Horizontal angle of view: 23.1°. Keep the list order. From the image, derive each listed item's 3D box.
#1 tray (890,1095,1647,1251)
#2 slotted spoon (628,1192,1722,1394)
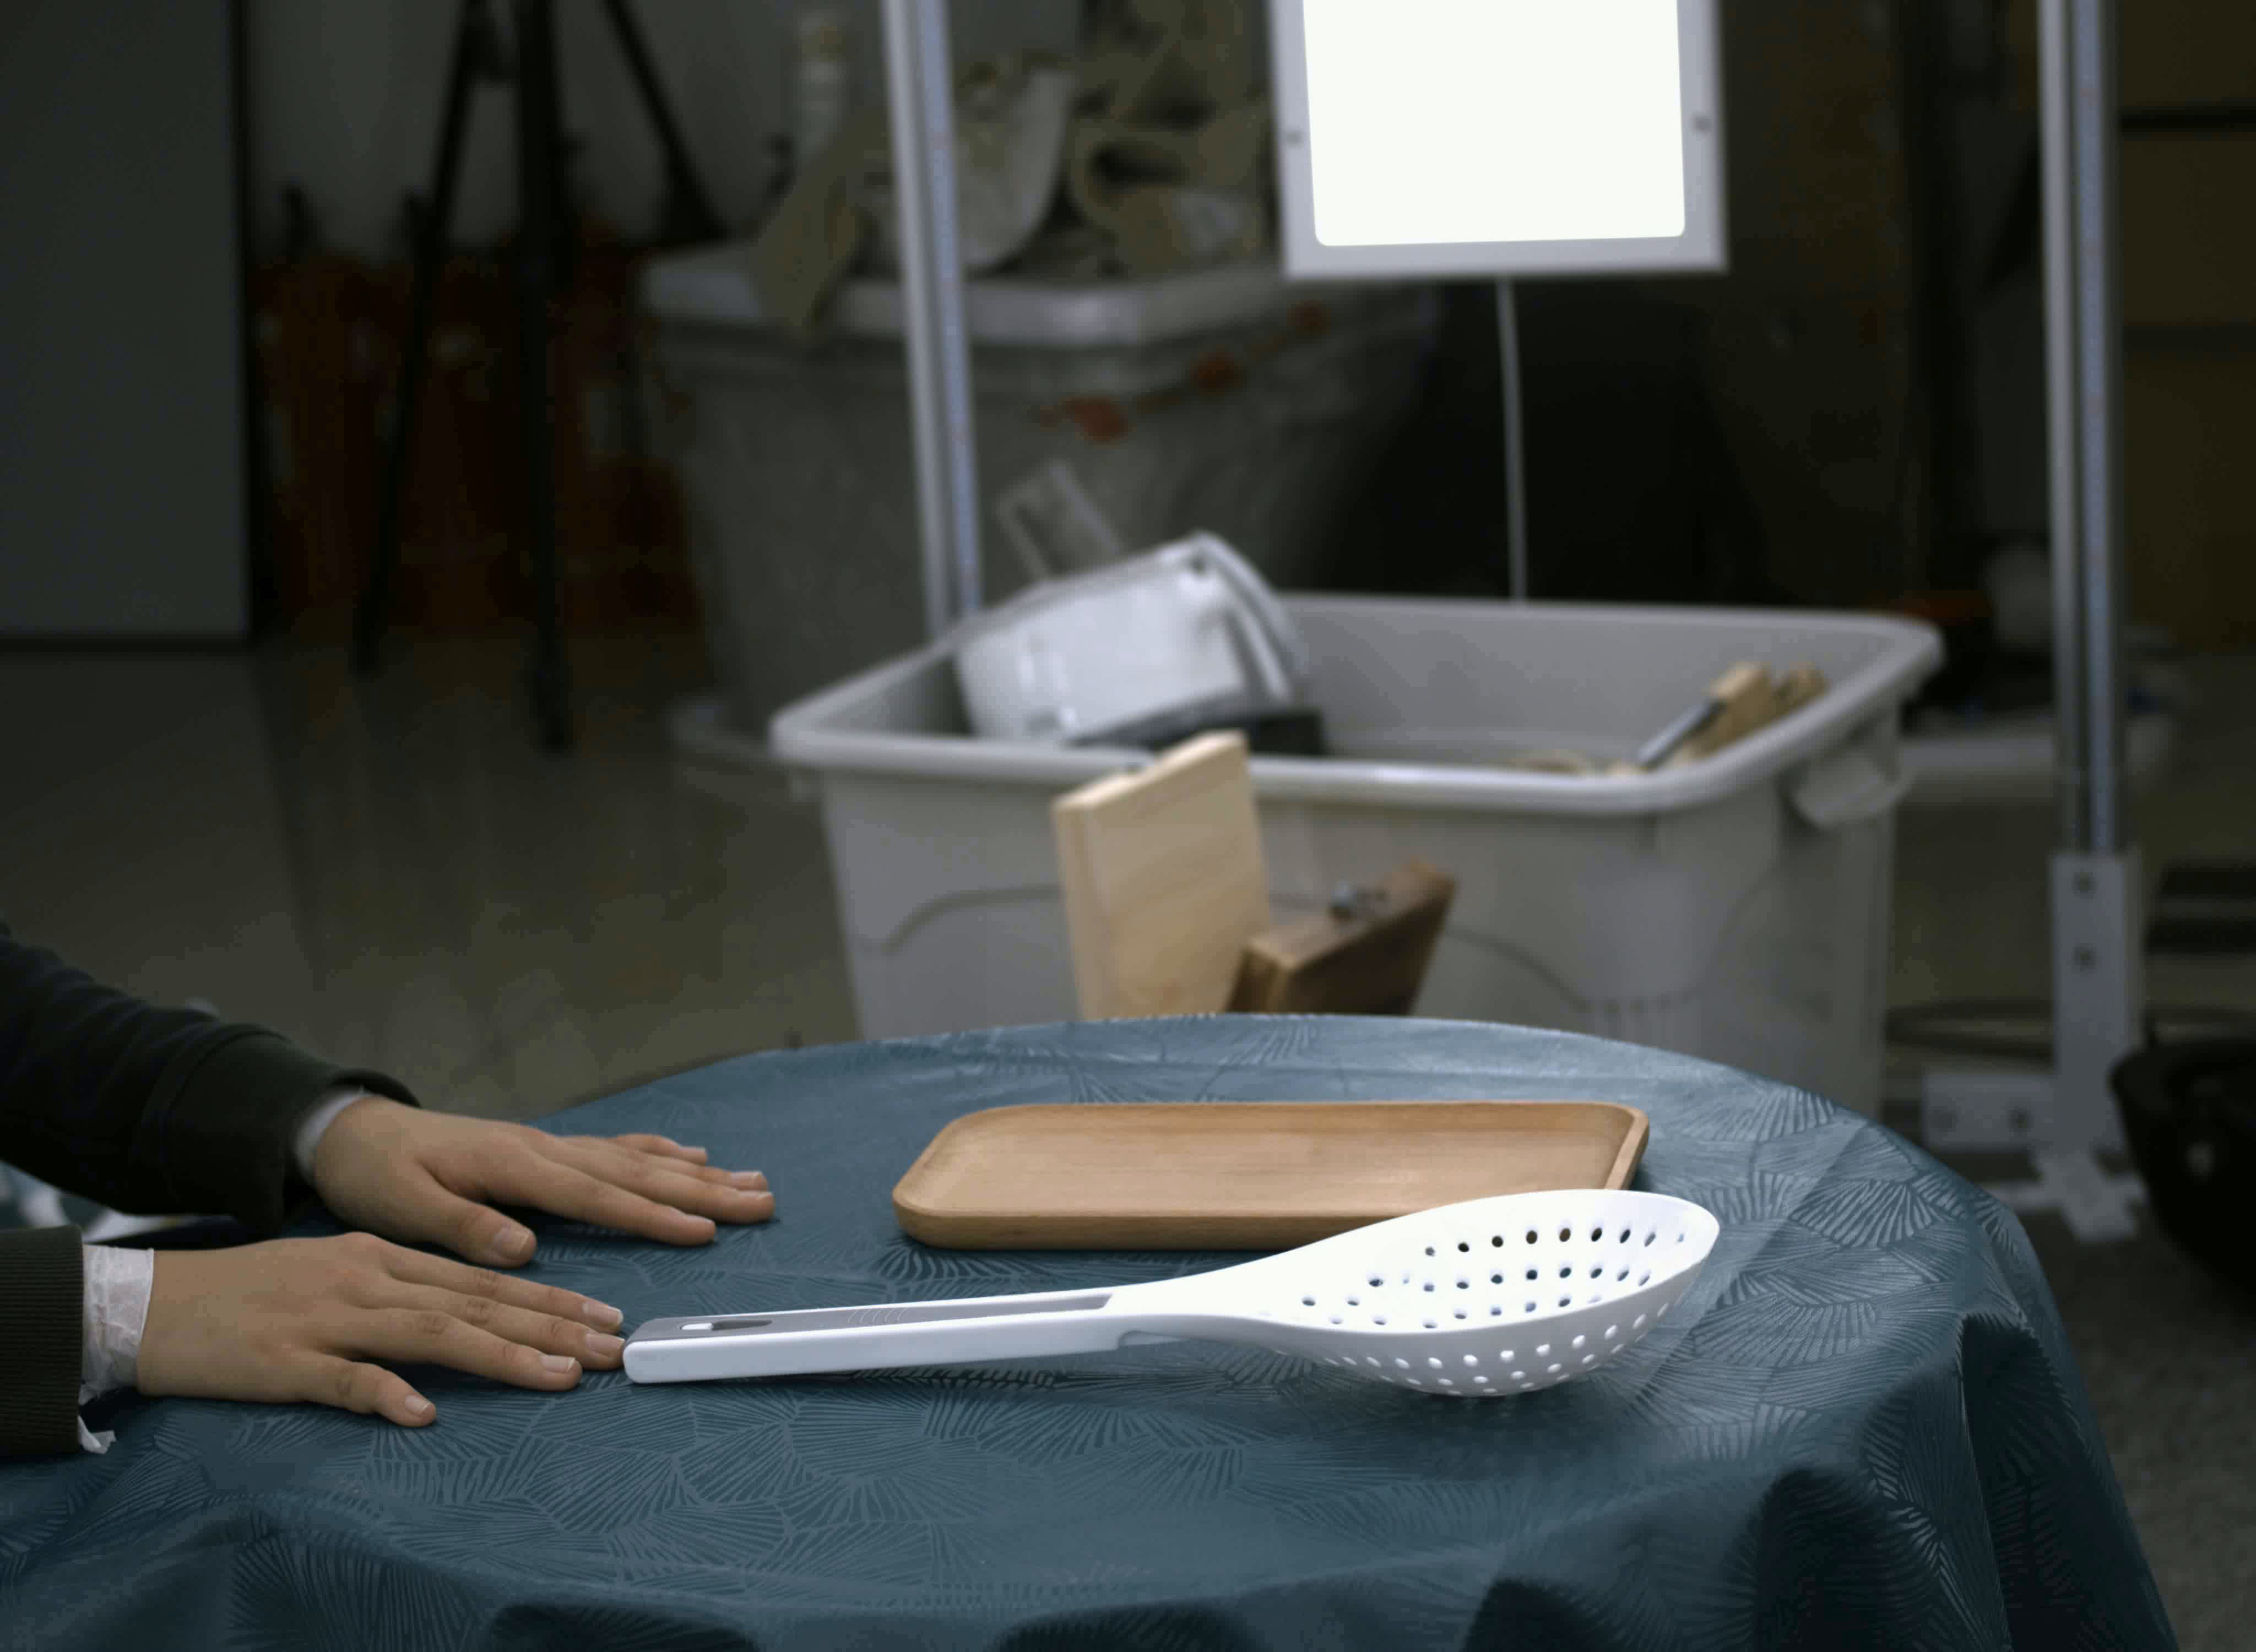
[{"bbox_3d":[0.049,0.119,1.877,0.253,0.023,0.129,-2,12,16],"label":"tray"},{"bbox_3d":[0.011,0.150,1.703,0.353,0.046,0.134,-2,12,16],"label":"slotted spoon"}]
